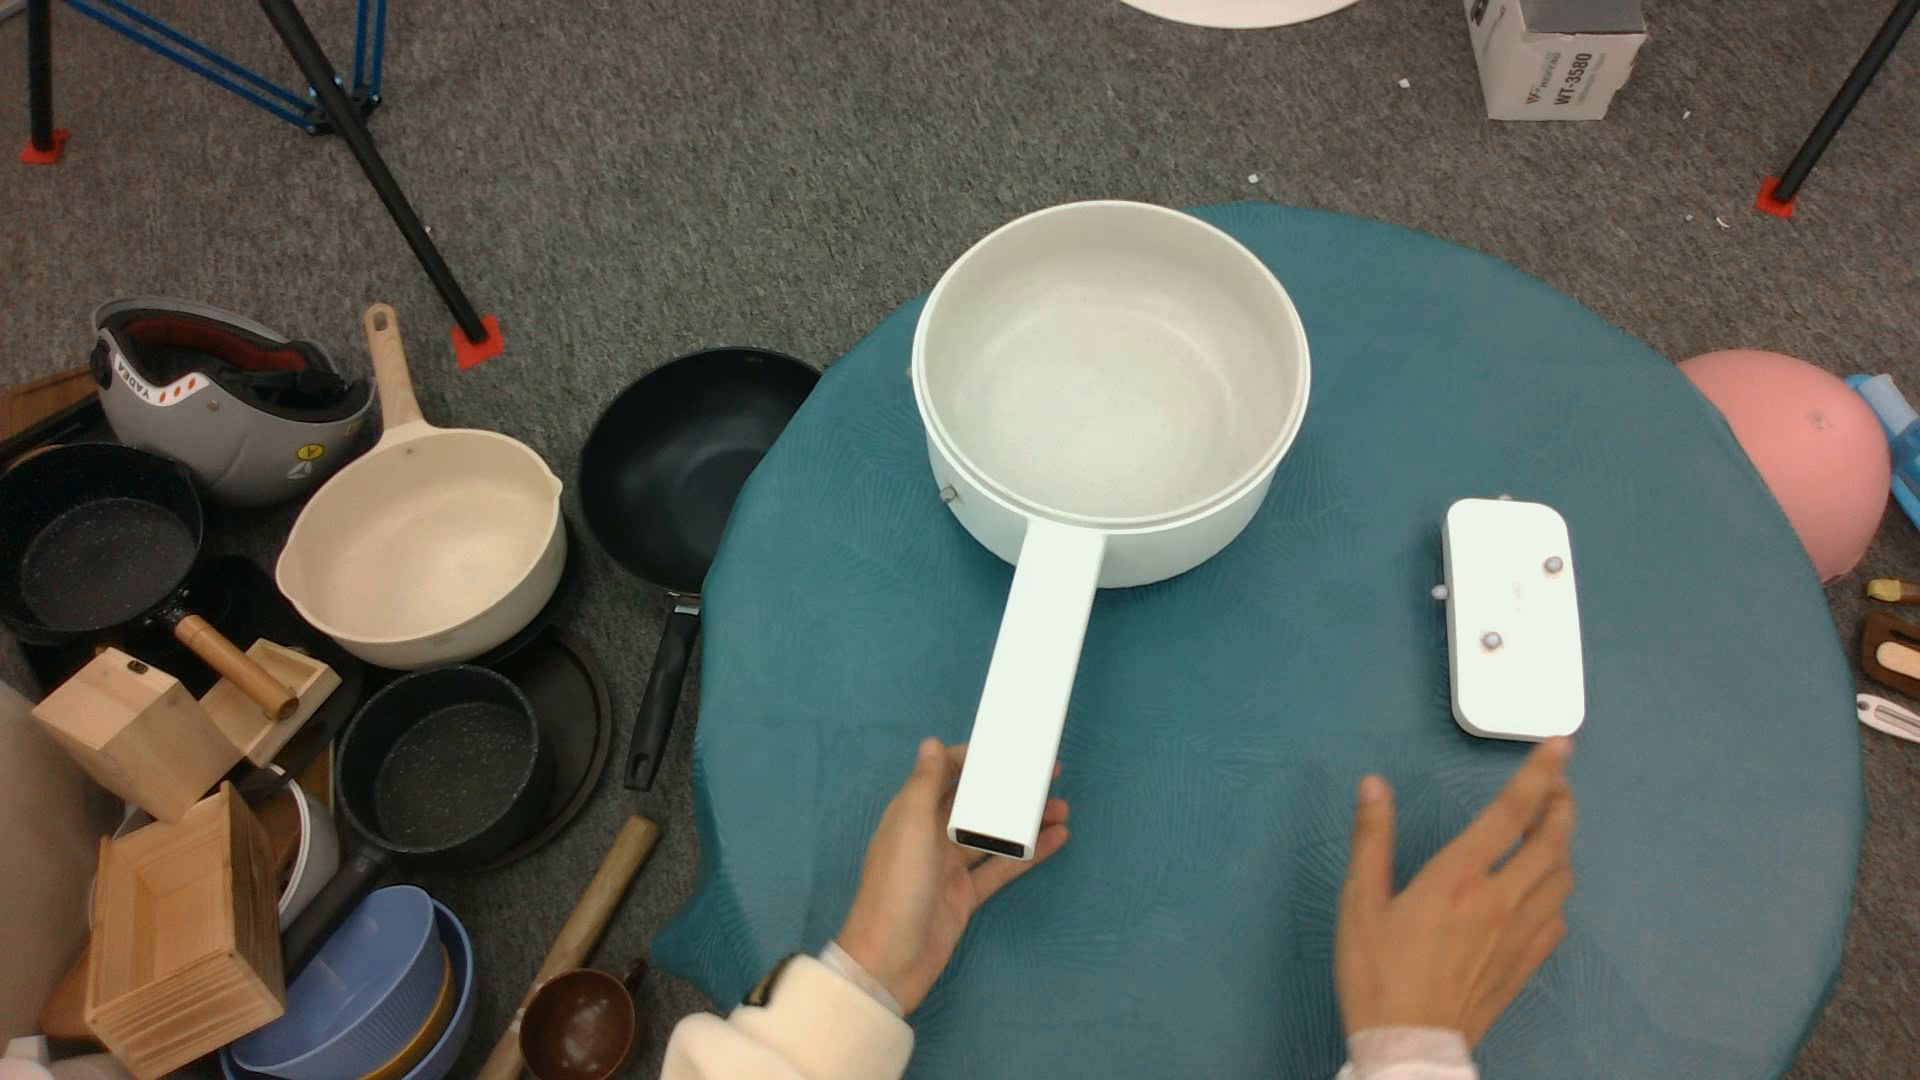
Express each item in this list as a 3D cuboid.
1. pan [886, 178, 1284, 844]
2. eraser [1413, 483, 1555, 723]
[{"bbox_3d":[0.047,-0.016,0.706,0.201,0.102,0.356,11,66,8],"label":"pan"},{"bbox_3d":[0.270,0.031,0.719,0.063,0.034,0.132,3,63,5],"label":"eraser"}]
